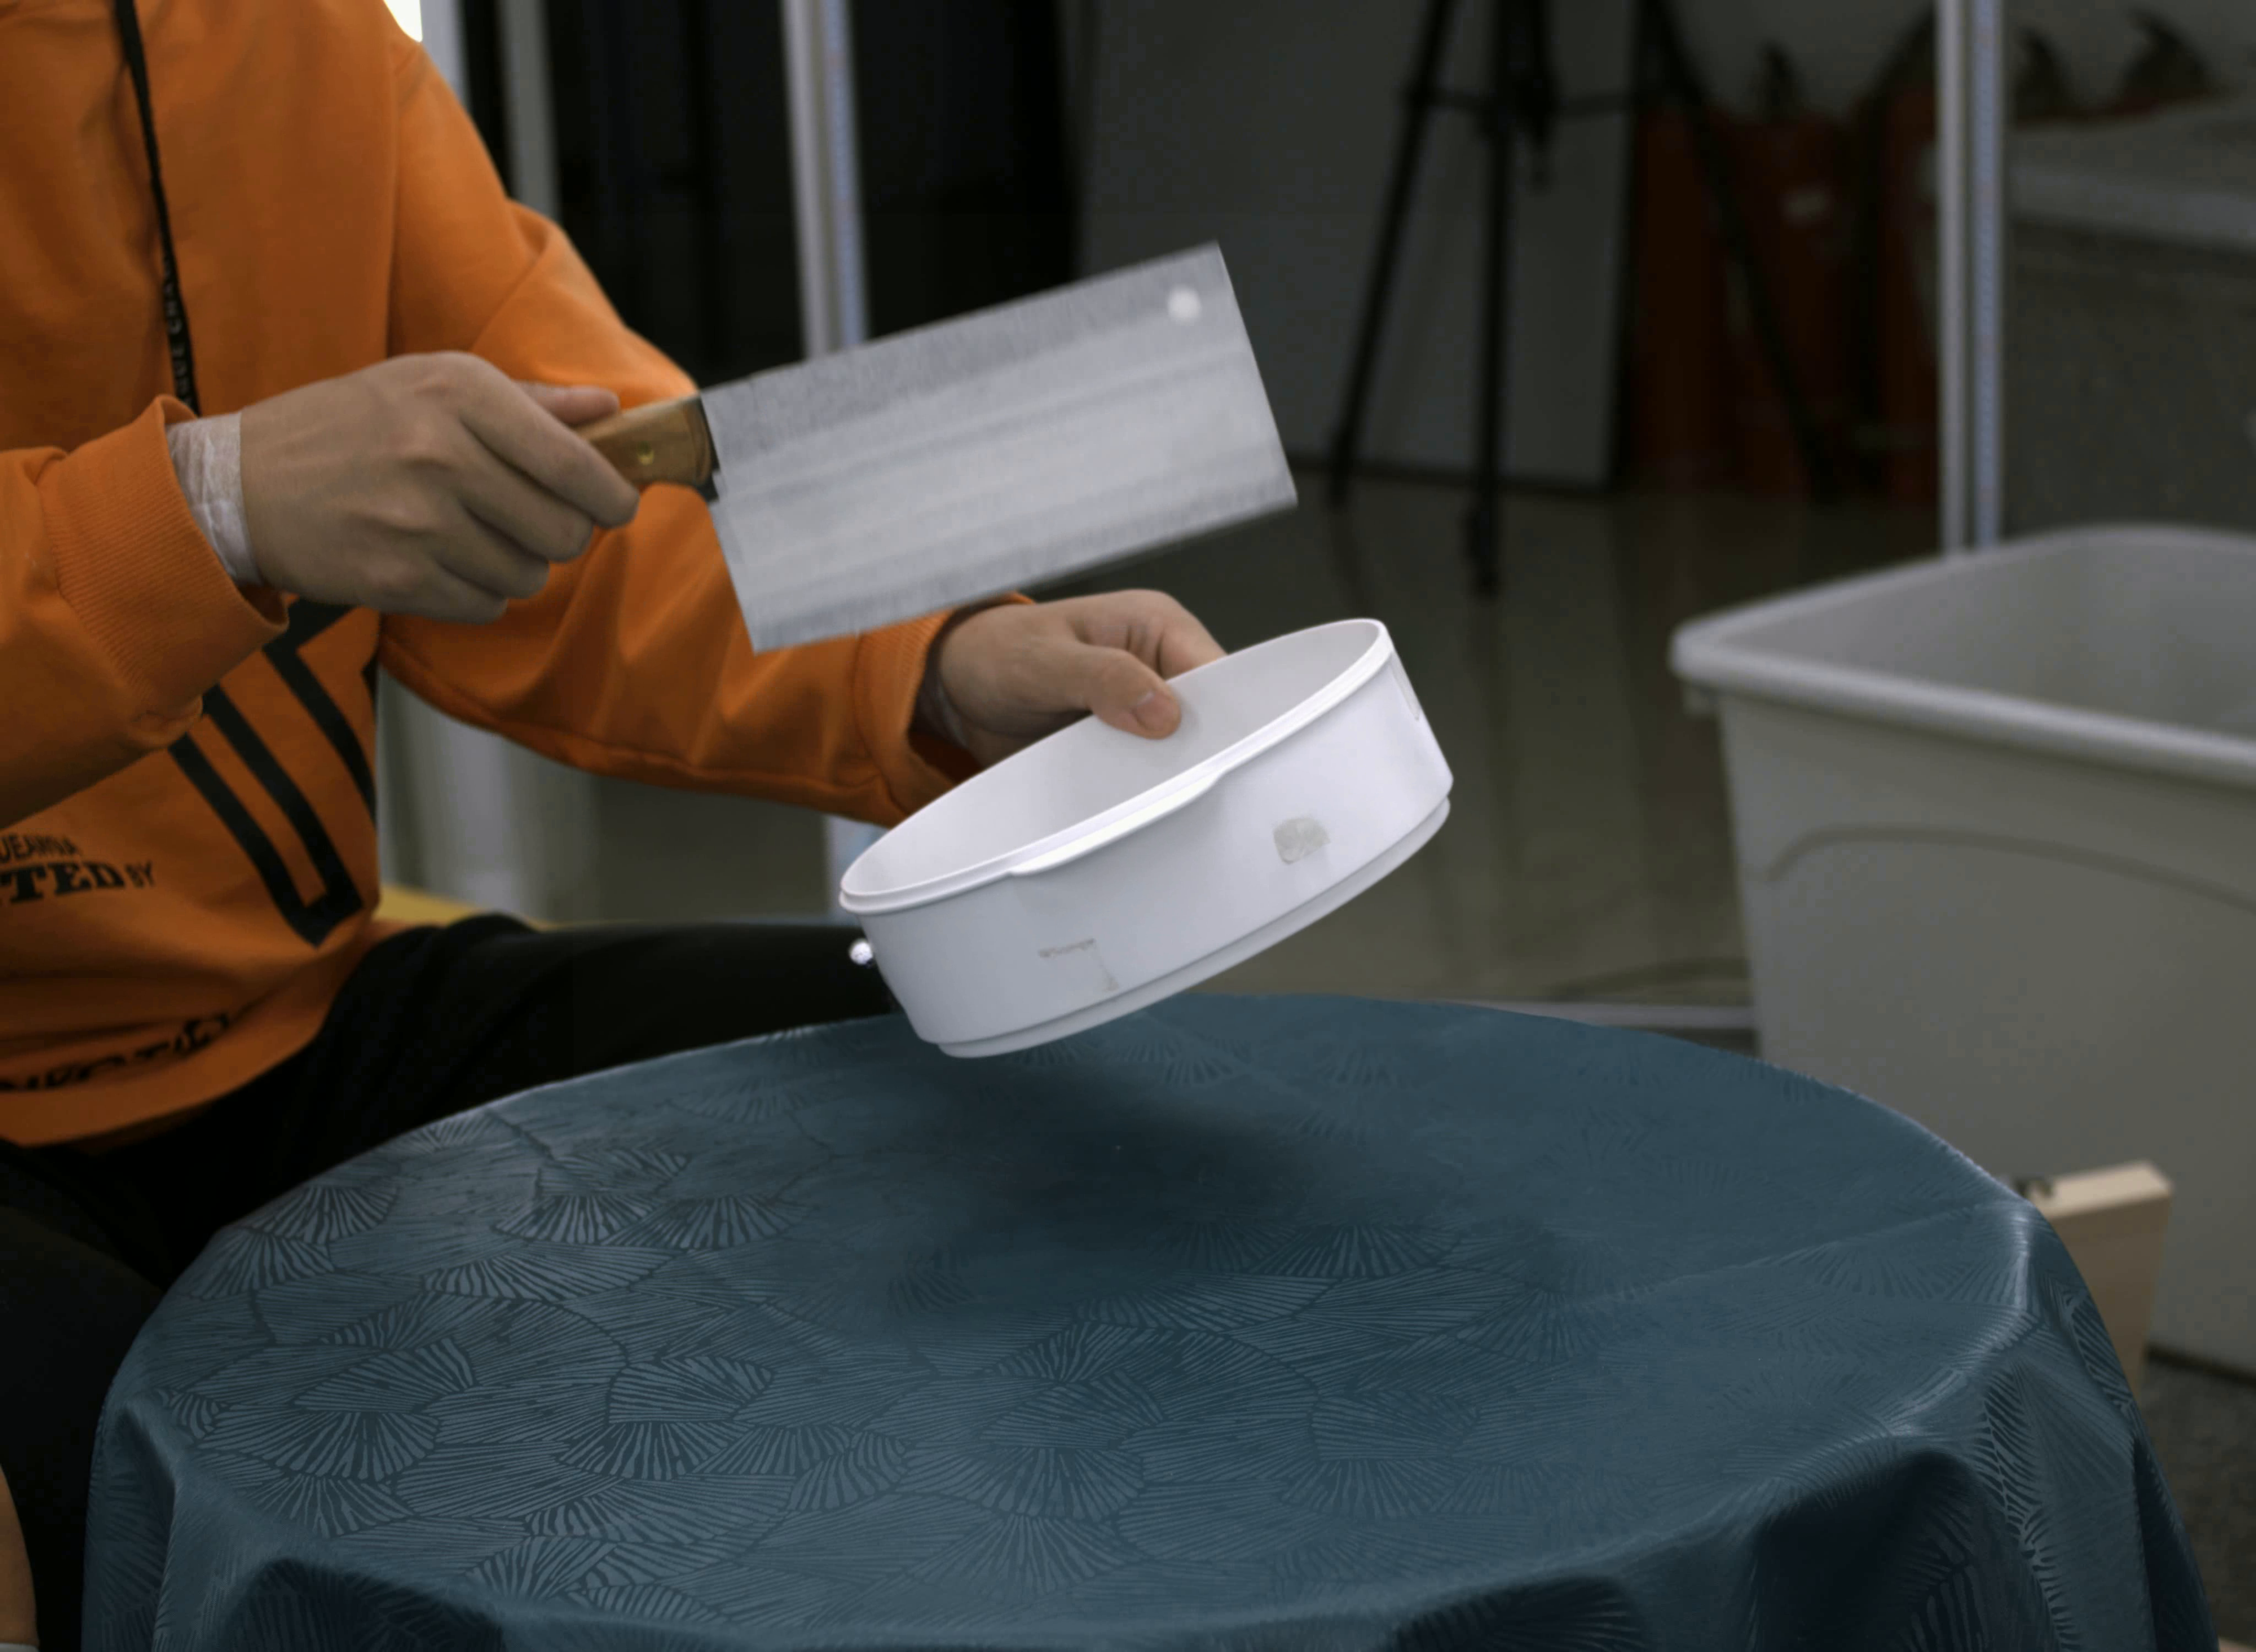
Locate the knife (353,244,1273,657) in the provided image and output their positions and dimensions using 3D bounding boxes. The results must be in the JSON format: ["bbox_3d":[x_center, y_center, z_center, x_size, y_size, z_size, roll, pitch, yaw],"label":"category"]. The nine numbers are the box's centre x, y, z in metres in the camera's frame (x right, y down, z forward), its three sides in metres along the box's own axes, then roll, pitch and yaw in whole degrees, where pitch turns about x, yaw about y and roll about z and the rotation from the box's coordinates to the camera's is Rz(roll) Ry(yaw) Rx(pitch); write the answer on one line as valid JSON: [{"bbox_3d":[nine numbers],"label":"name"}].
[{"bbox_3d":[-0.101,-0.106,1.755,0.304,0.093,0.021,-15,14,14],"label":"knife"}]

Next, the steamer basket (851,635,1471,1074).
[{"bbox_3d":[0.013,0.010,1.731,0.200,0.069,0.231,-24,11,5],"label":"steamer basket"}]
